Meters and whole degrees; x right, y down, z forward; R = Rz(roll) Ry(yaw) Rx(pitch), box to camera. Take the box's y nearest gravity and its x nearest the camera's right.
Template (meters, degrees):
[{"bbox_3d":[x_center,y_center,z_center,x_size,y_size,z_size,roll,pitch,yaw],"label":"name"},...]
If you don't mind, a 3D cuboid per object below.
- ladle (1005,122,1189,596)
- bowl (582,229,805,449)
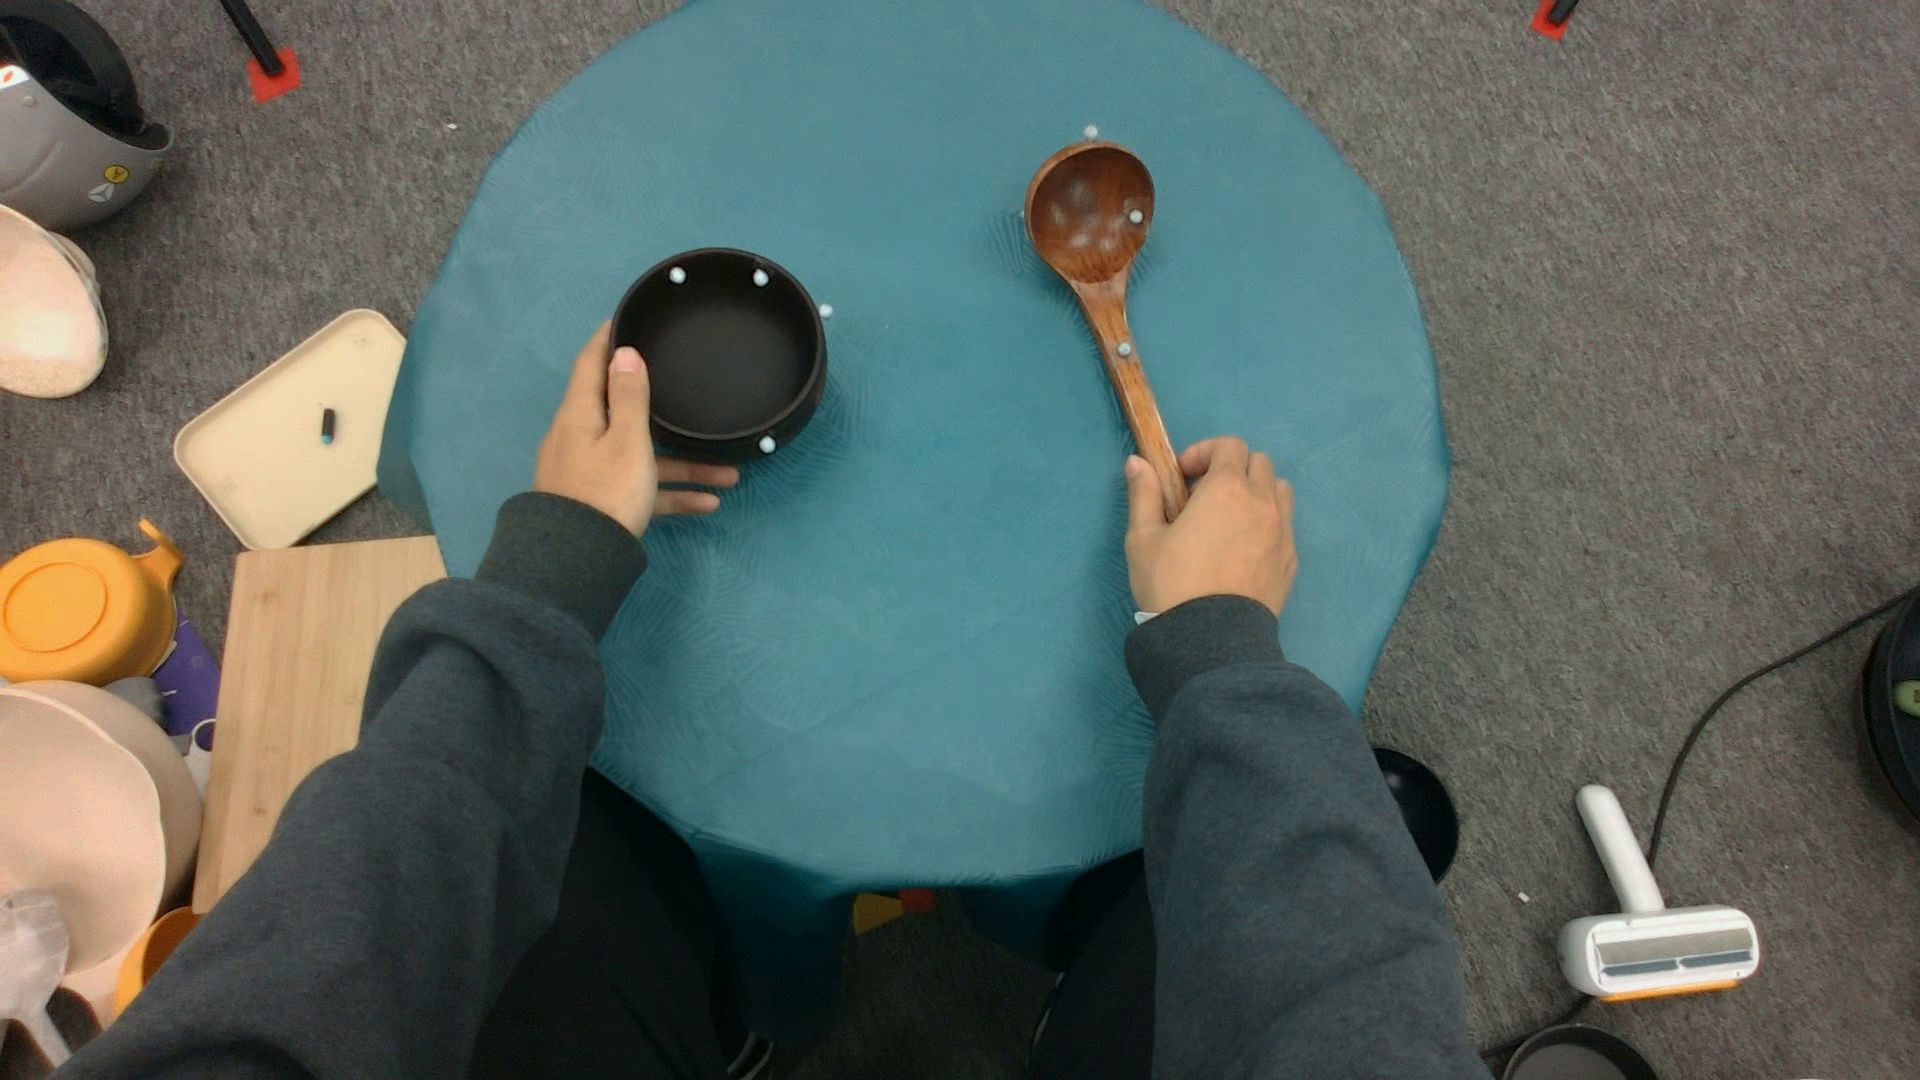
[{"bbox_3d":[0.091,-0.108,0.778,0.082,0.076,0.274,-12,72,-8],"label":"ladle"},{"bbox_3d":[-0.144,-0.104,0.760,0.118,0.069,0.118,2,71,-5],"label":"bowl"}]
